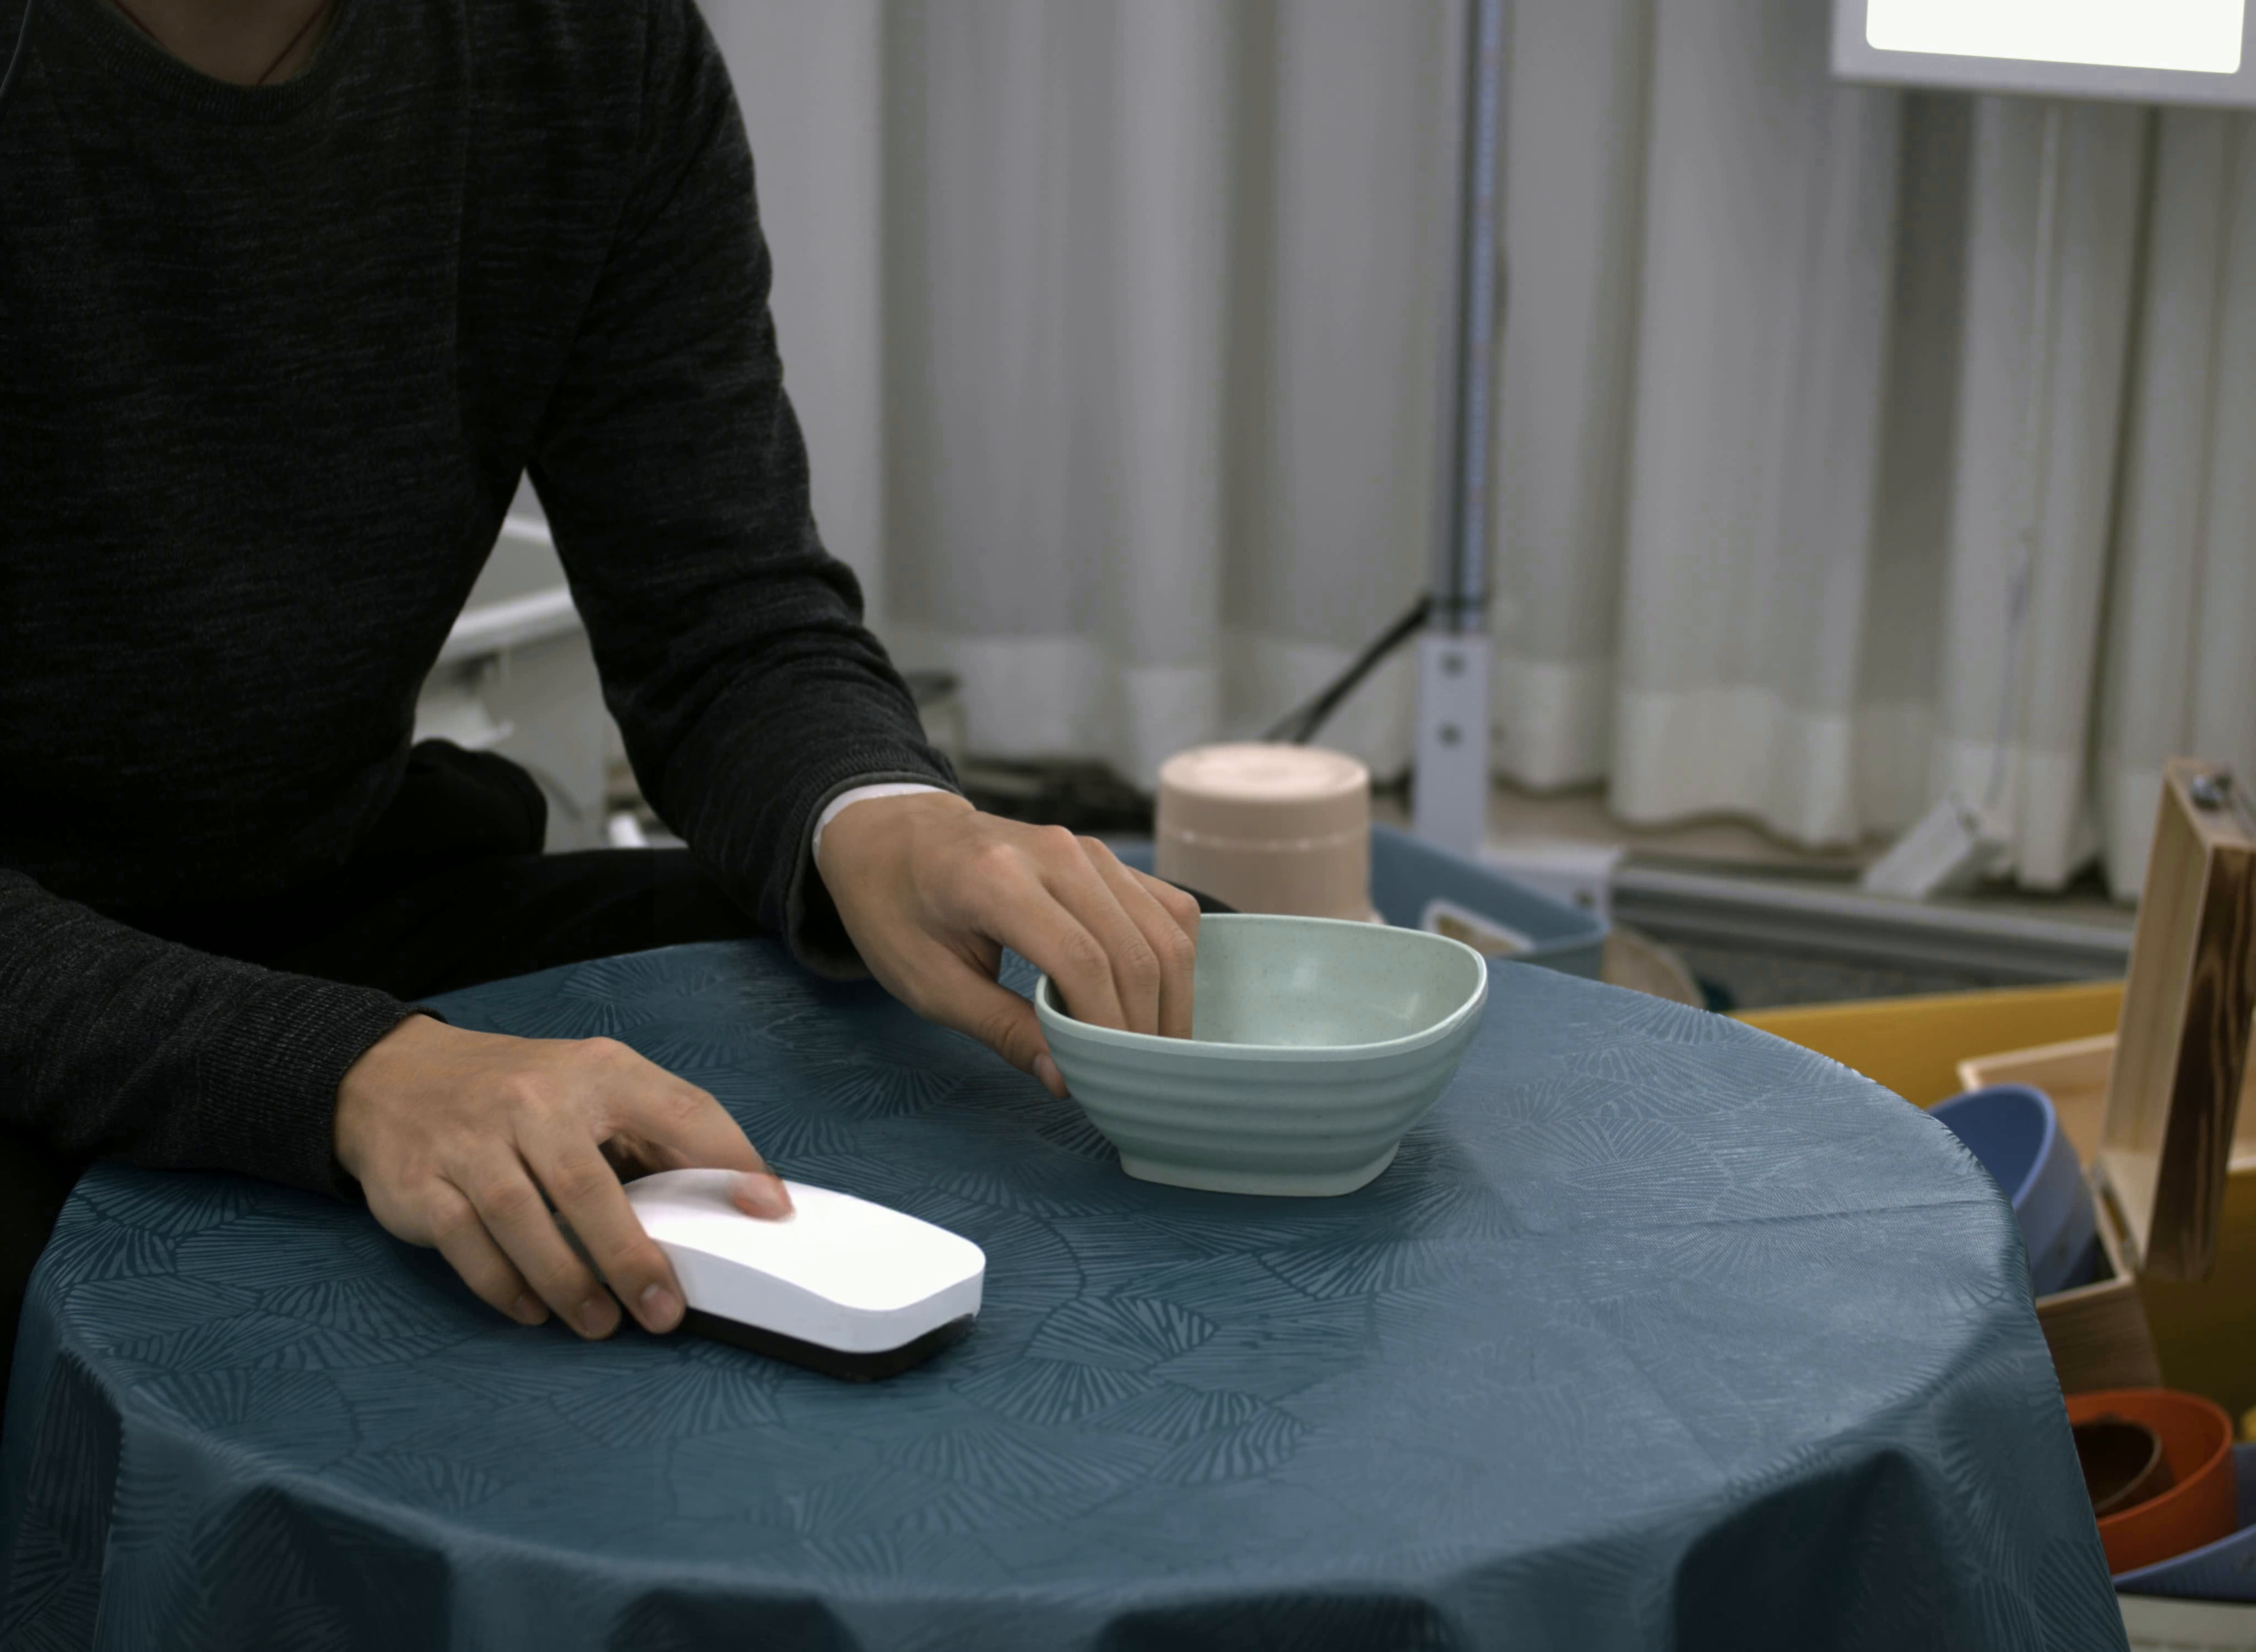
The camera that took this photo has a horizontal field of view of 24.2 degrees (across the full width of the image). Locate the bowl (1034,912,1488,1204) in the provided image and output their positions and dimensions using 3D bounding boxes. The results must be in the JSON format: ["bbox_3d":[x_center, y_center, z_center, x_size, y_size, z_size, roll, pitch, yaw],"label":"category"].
[{"bbox_3d":[0.041,0.076,1.651,0.151,0.059,0.150,2,16,0],"label":"bowl"}]

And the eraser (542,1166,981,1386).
[{"bbox_3d":[-0.105,0.125,1.511,0.129,0.035,0.064,14,19,35],"label":"eraser"}]
